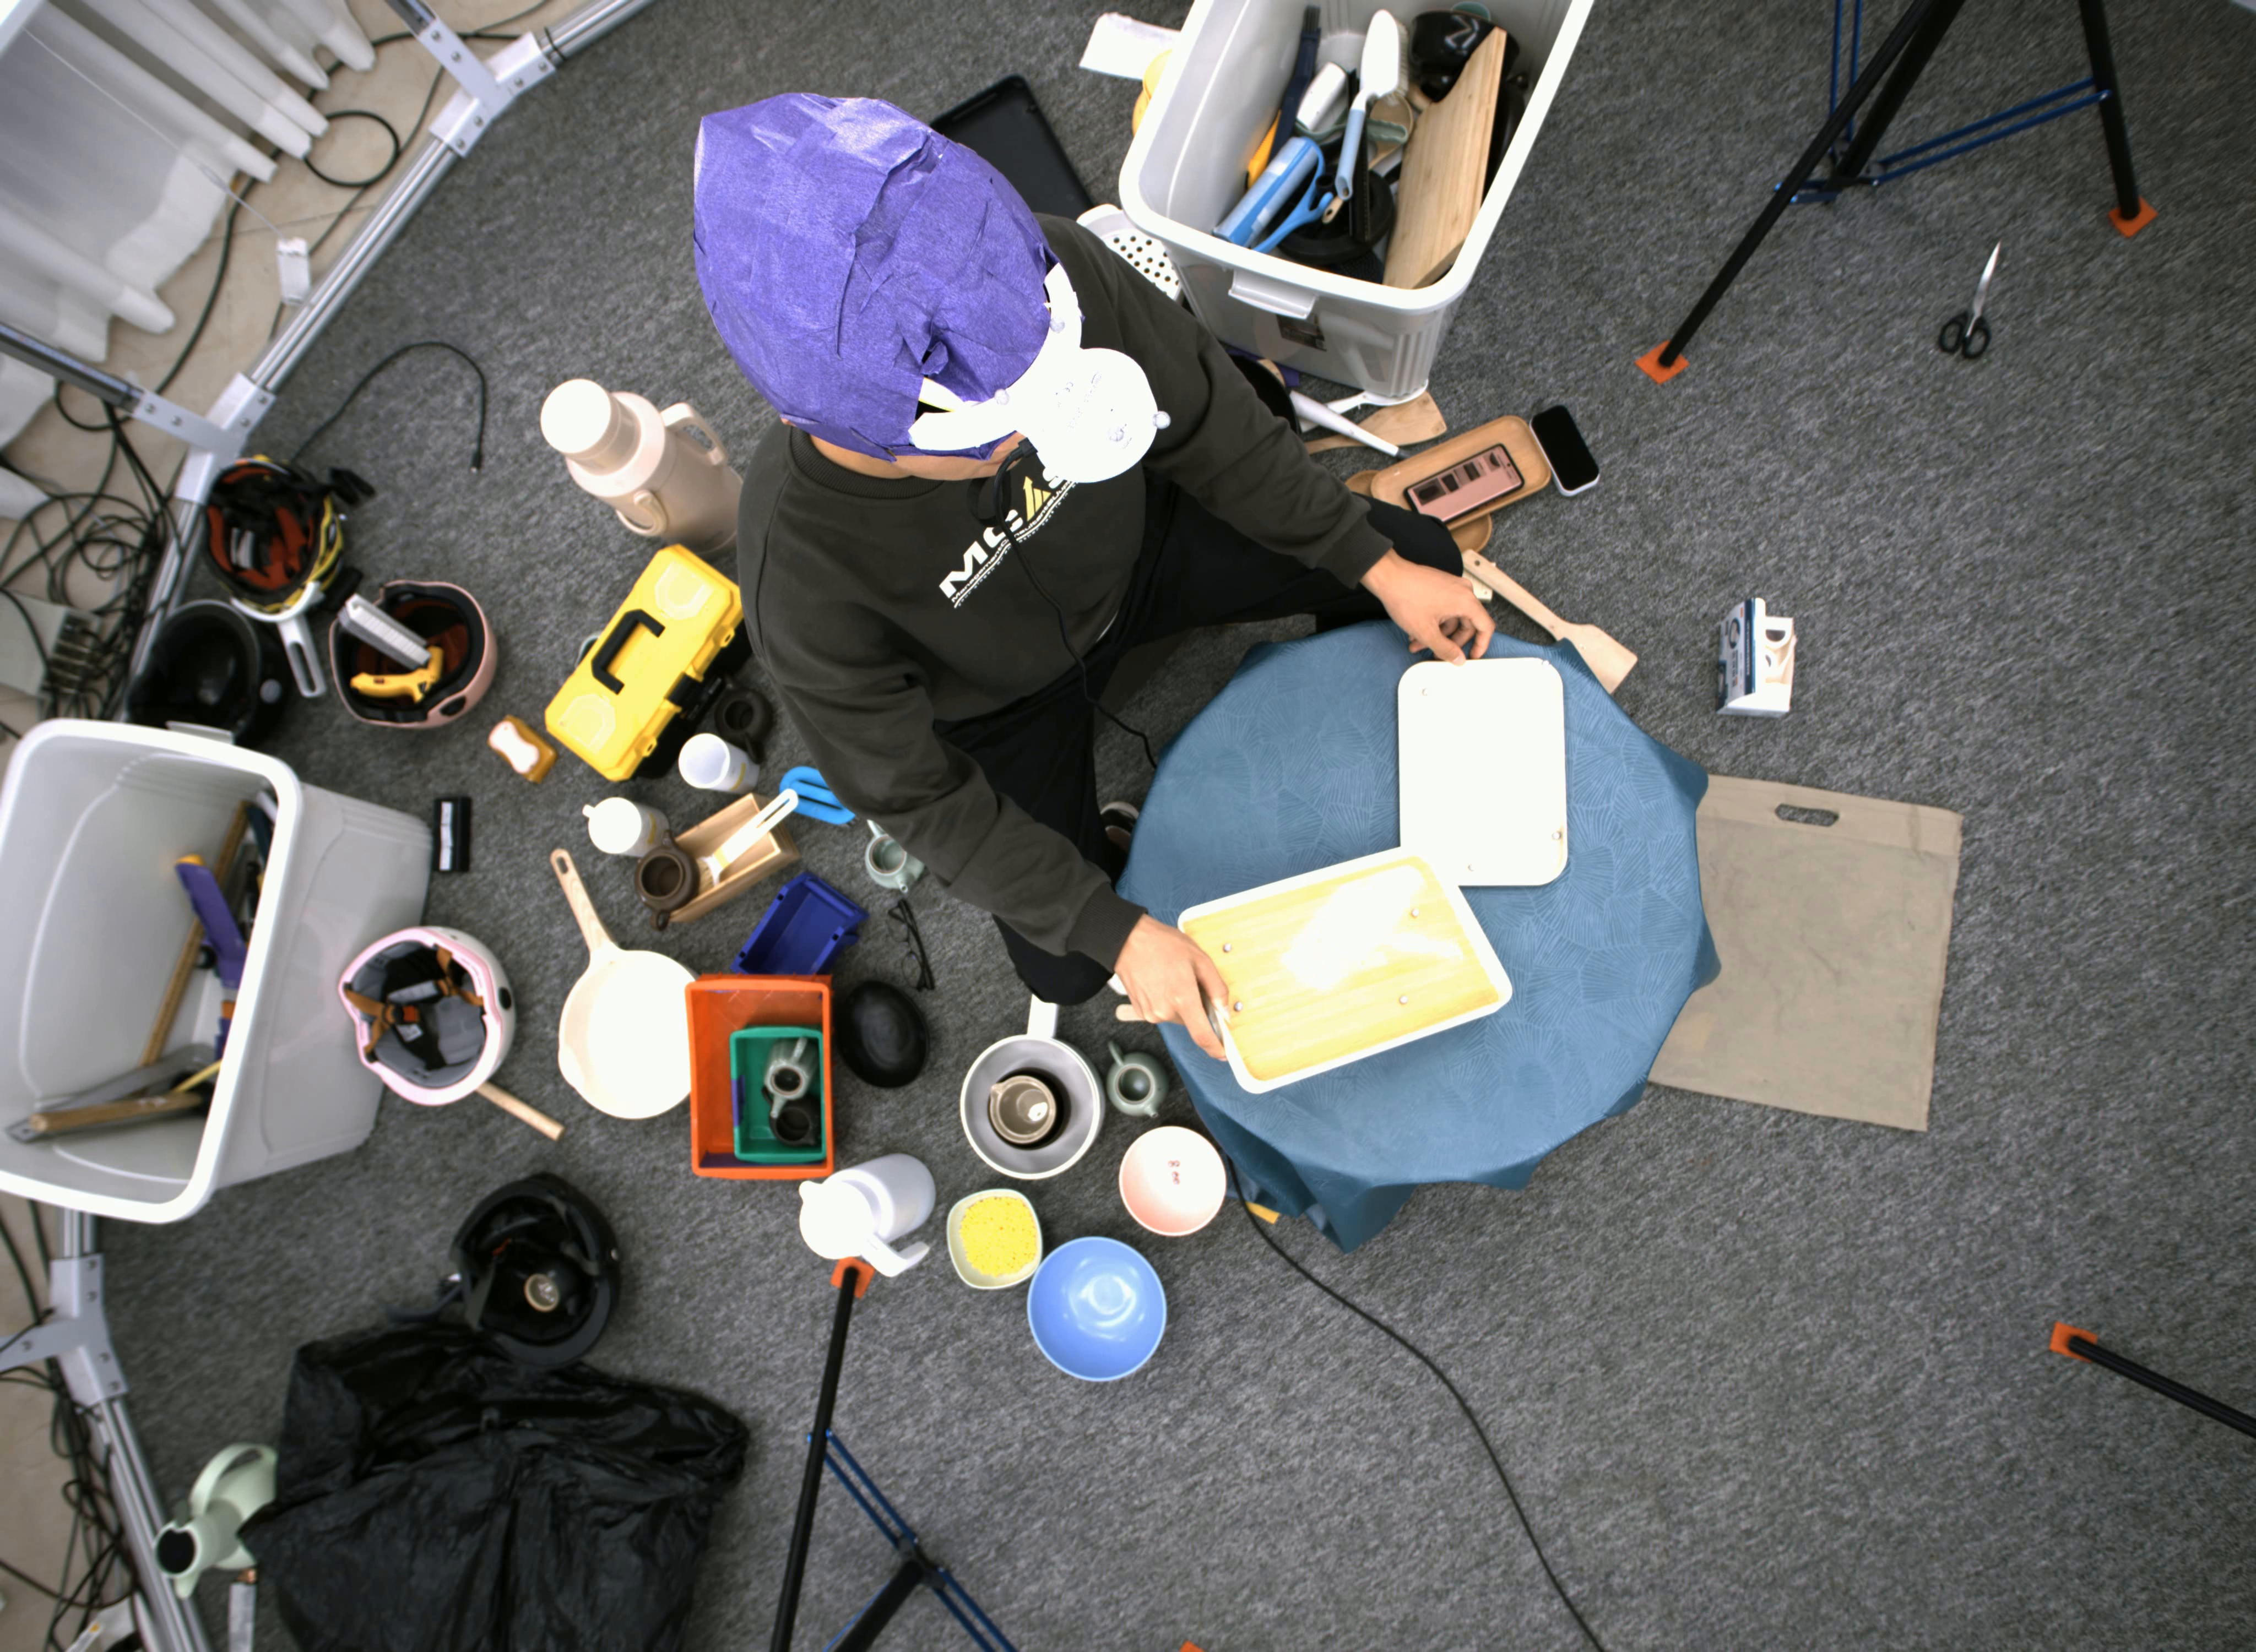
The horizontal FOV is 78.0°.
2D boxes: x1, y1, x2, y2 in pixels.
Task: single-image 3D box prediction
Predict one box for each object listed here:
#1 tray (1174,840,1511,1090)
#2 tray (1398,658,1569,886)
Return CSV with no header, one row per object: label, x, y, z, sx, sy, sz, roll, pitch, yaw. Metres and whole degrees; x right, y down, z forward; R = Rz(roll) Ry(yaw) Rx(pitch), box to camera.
tray,0.212,0.129,1.359,0.298,0.028,0.188,-15,66,-18
tray,0.371,-0.059,1.440,0.172,0.017,0.238,-1,86,11
